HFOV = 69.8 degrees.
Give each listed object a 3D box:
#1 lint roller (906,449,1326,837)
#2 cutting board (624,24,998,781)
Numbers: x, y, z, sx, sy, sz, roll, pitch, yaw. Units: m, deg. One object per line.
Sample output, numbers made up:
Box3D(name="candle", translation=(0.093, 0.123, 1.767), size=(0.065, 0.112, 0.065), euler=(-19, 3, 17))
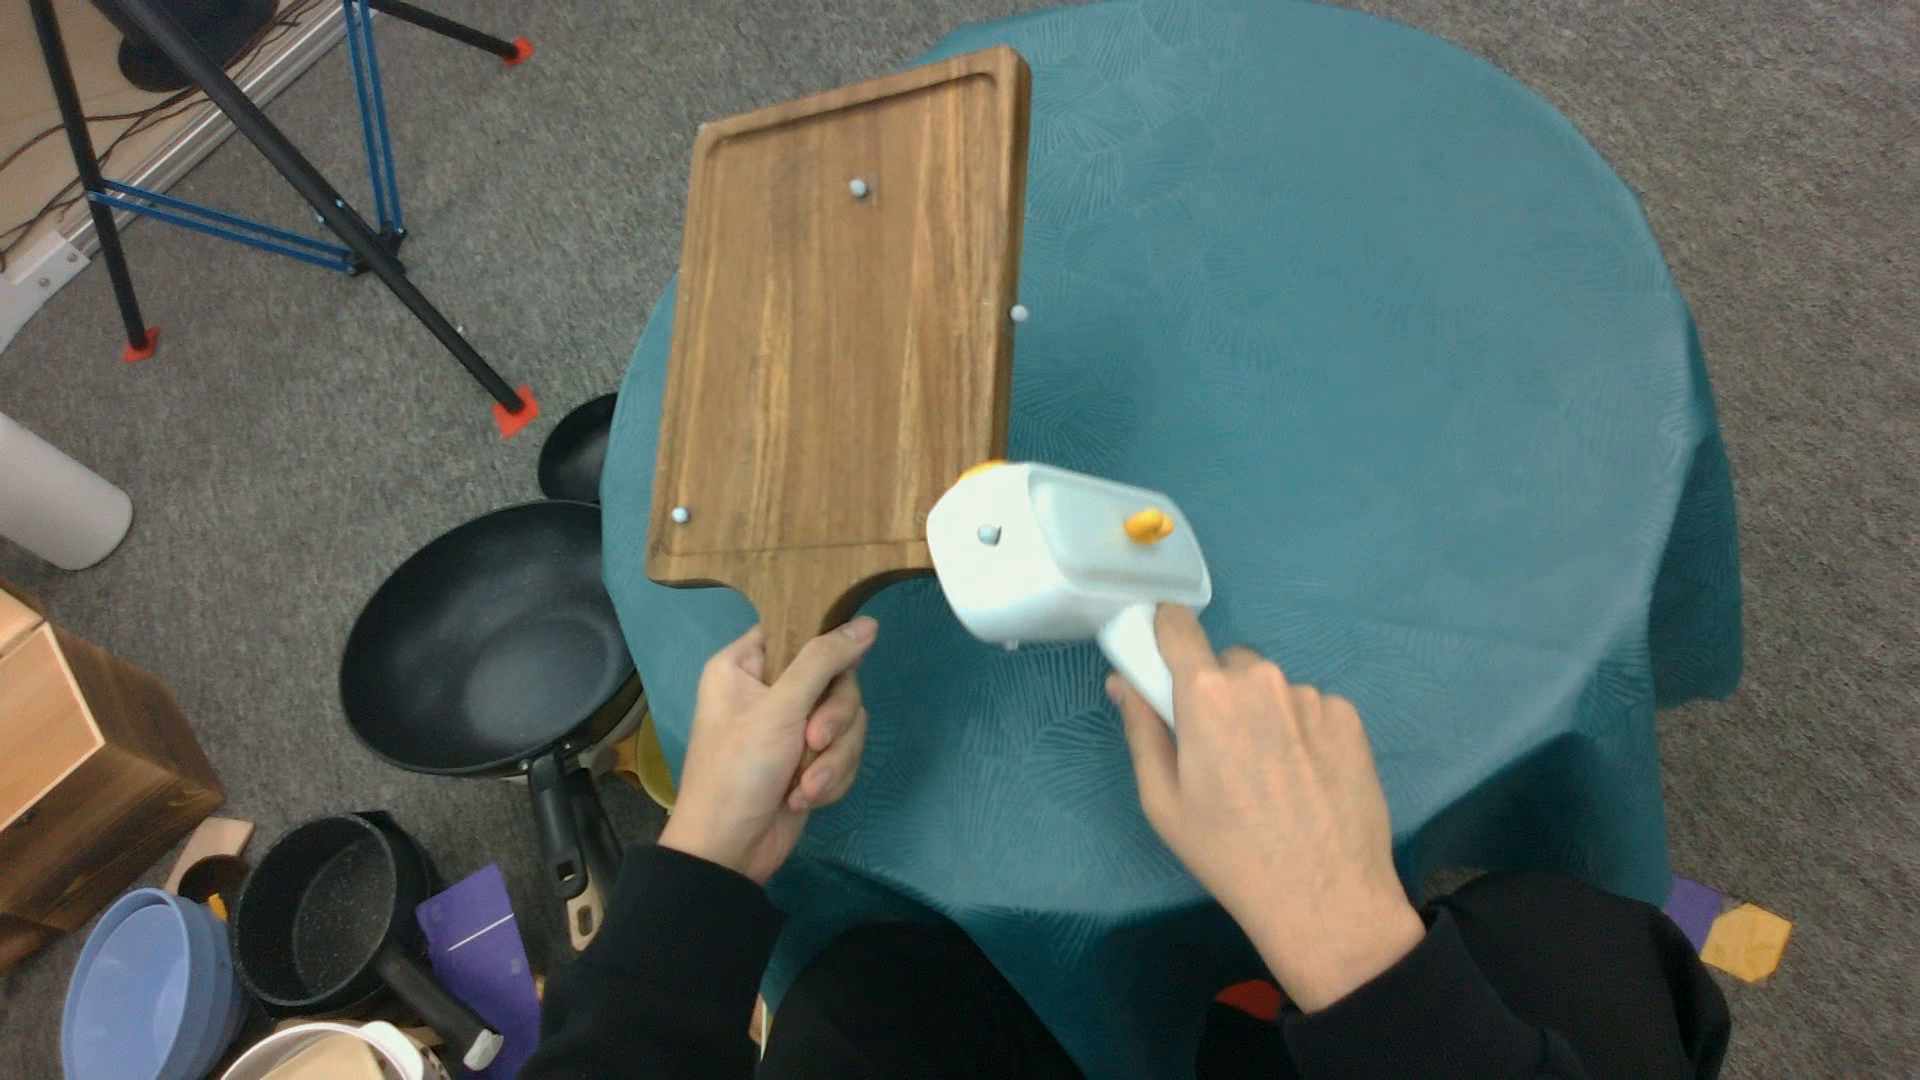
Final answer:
Box3D(name="lint roller", translation=(0.077, 0.048, 0.580), size=(0.074, 0.193, 0.192), euler=(-36, 73, 18))
Box3D(name="cutting board", translation=(-0.076, -0.064, 0.657), size=(0.200, 0.023, 0.353), euler=(-4, 76, 29))
